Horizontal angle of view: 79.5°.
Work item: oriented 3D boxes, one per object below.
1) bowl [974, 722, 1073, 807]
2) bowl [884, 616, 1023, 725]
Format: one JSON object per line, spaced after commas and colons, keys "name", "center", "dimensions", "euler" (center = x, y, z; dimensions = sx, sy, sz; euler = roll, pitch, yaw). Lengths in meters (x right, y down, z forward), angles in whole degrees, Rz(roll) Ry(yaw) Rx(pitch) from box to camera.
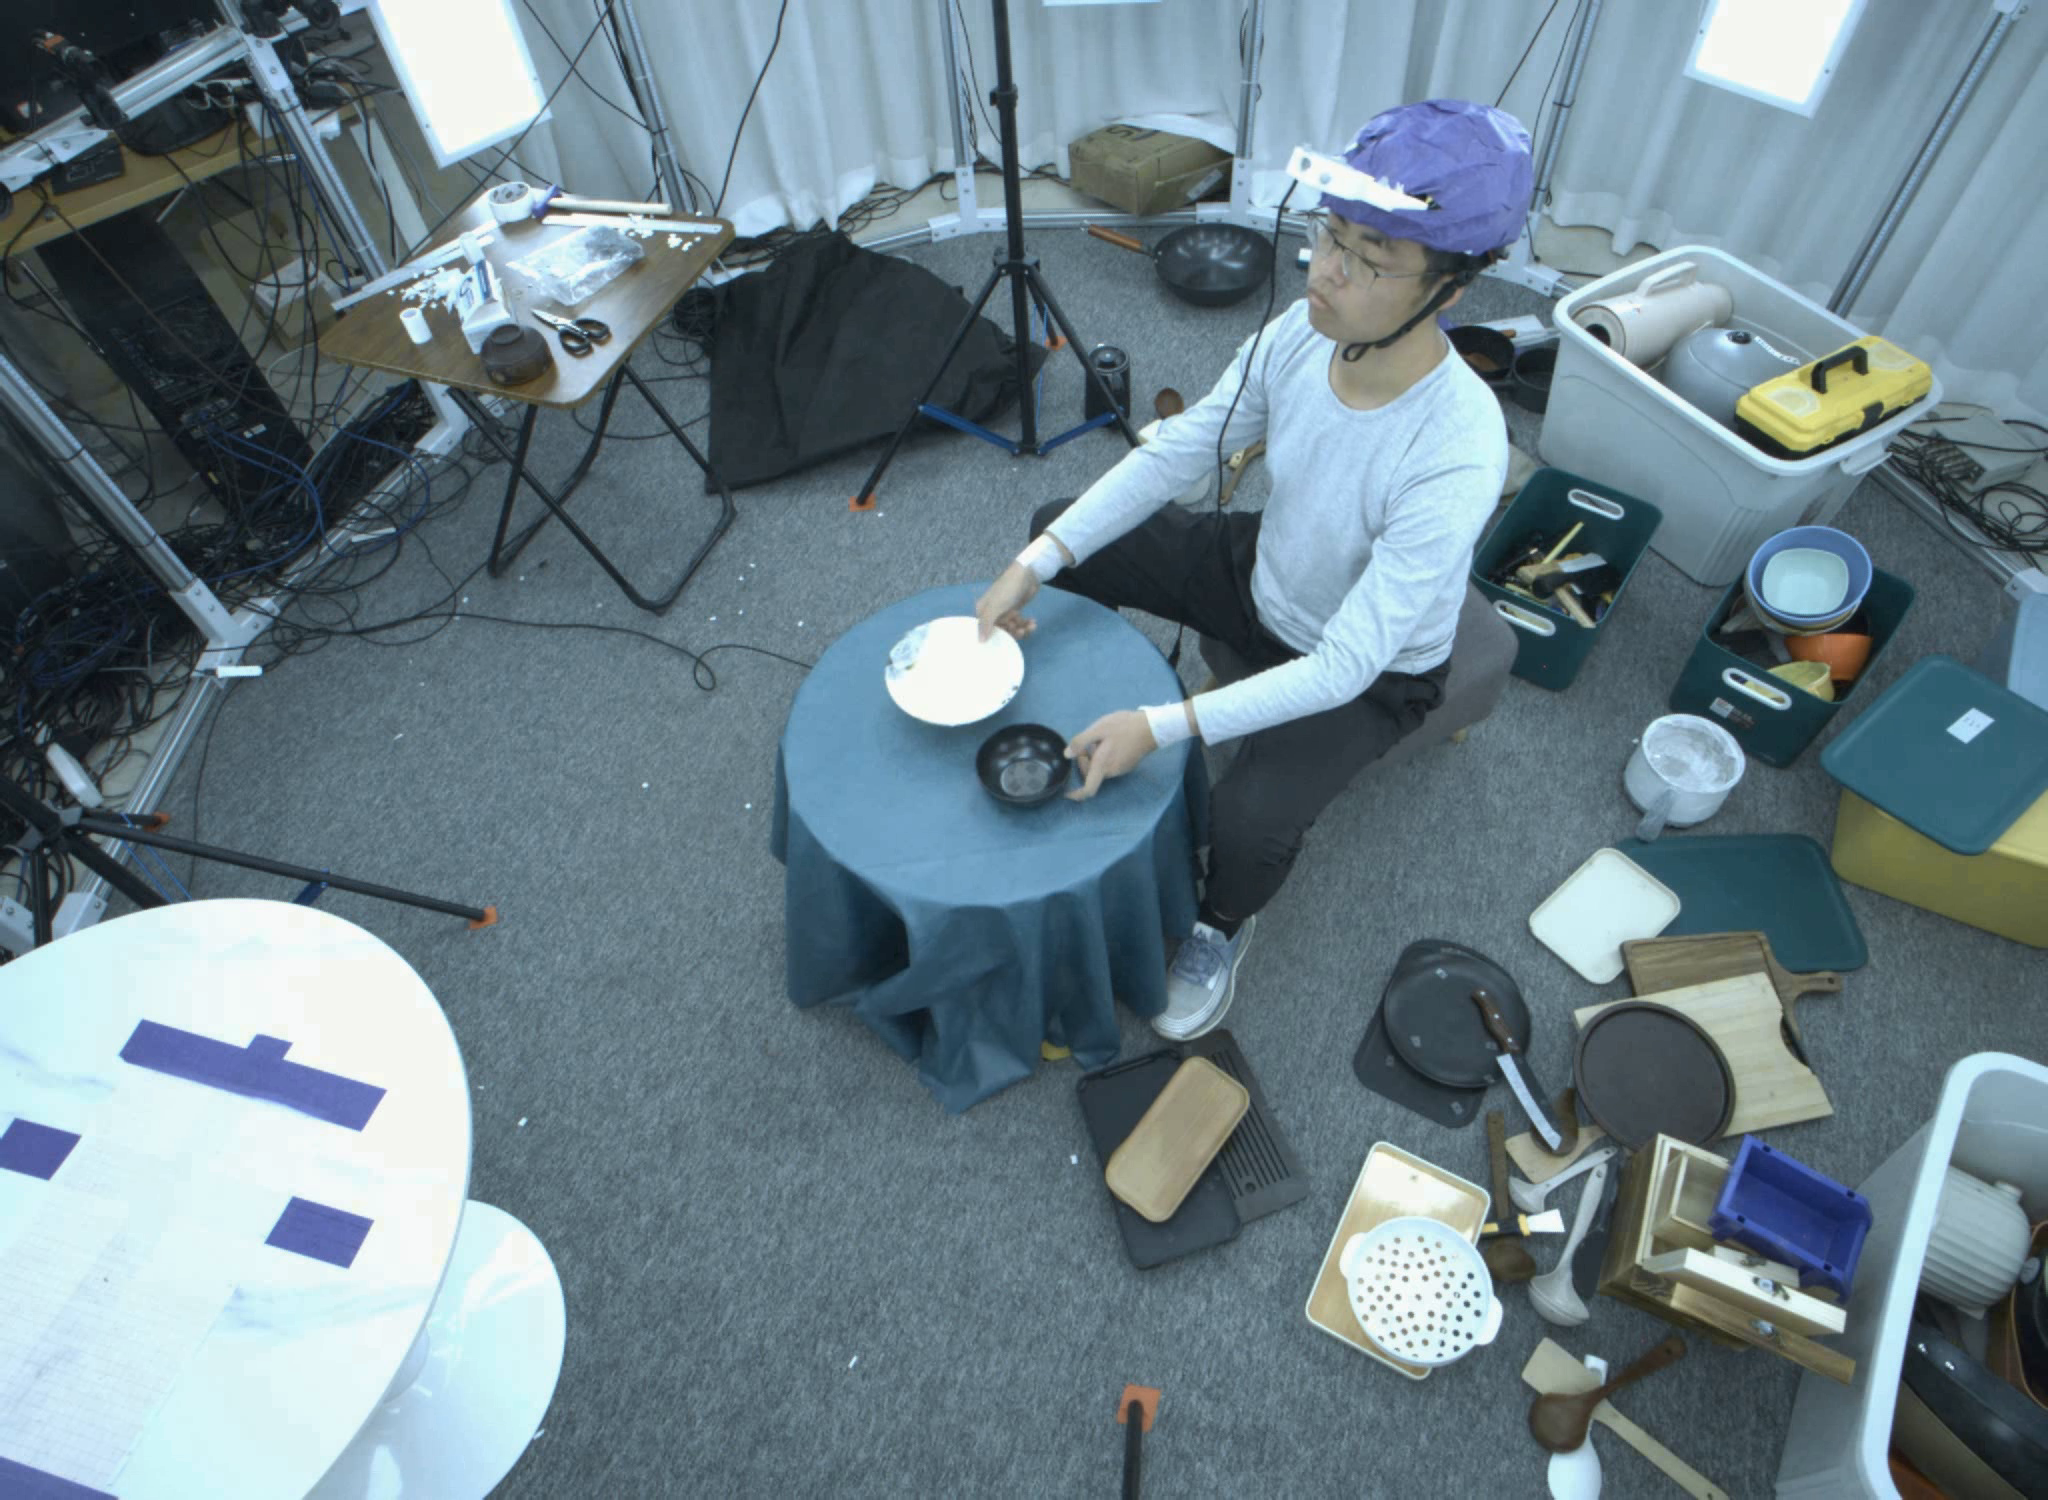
{"name": "bowl", "center": [0.000, 0.029, 1.746], "dimensions": [0.140, 0.050, 0.138], "euler": [2, 54, -1]}
{"name": "bowl", "center": [-0.102, -0.098, 1.820], "dimensions": [0.204, 0.079, 0.202], "euler": [1, 55, 0]}
